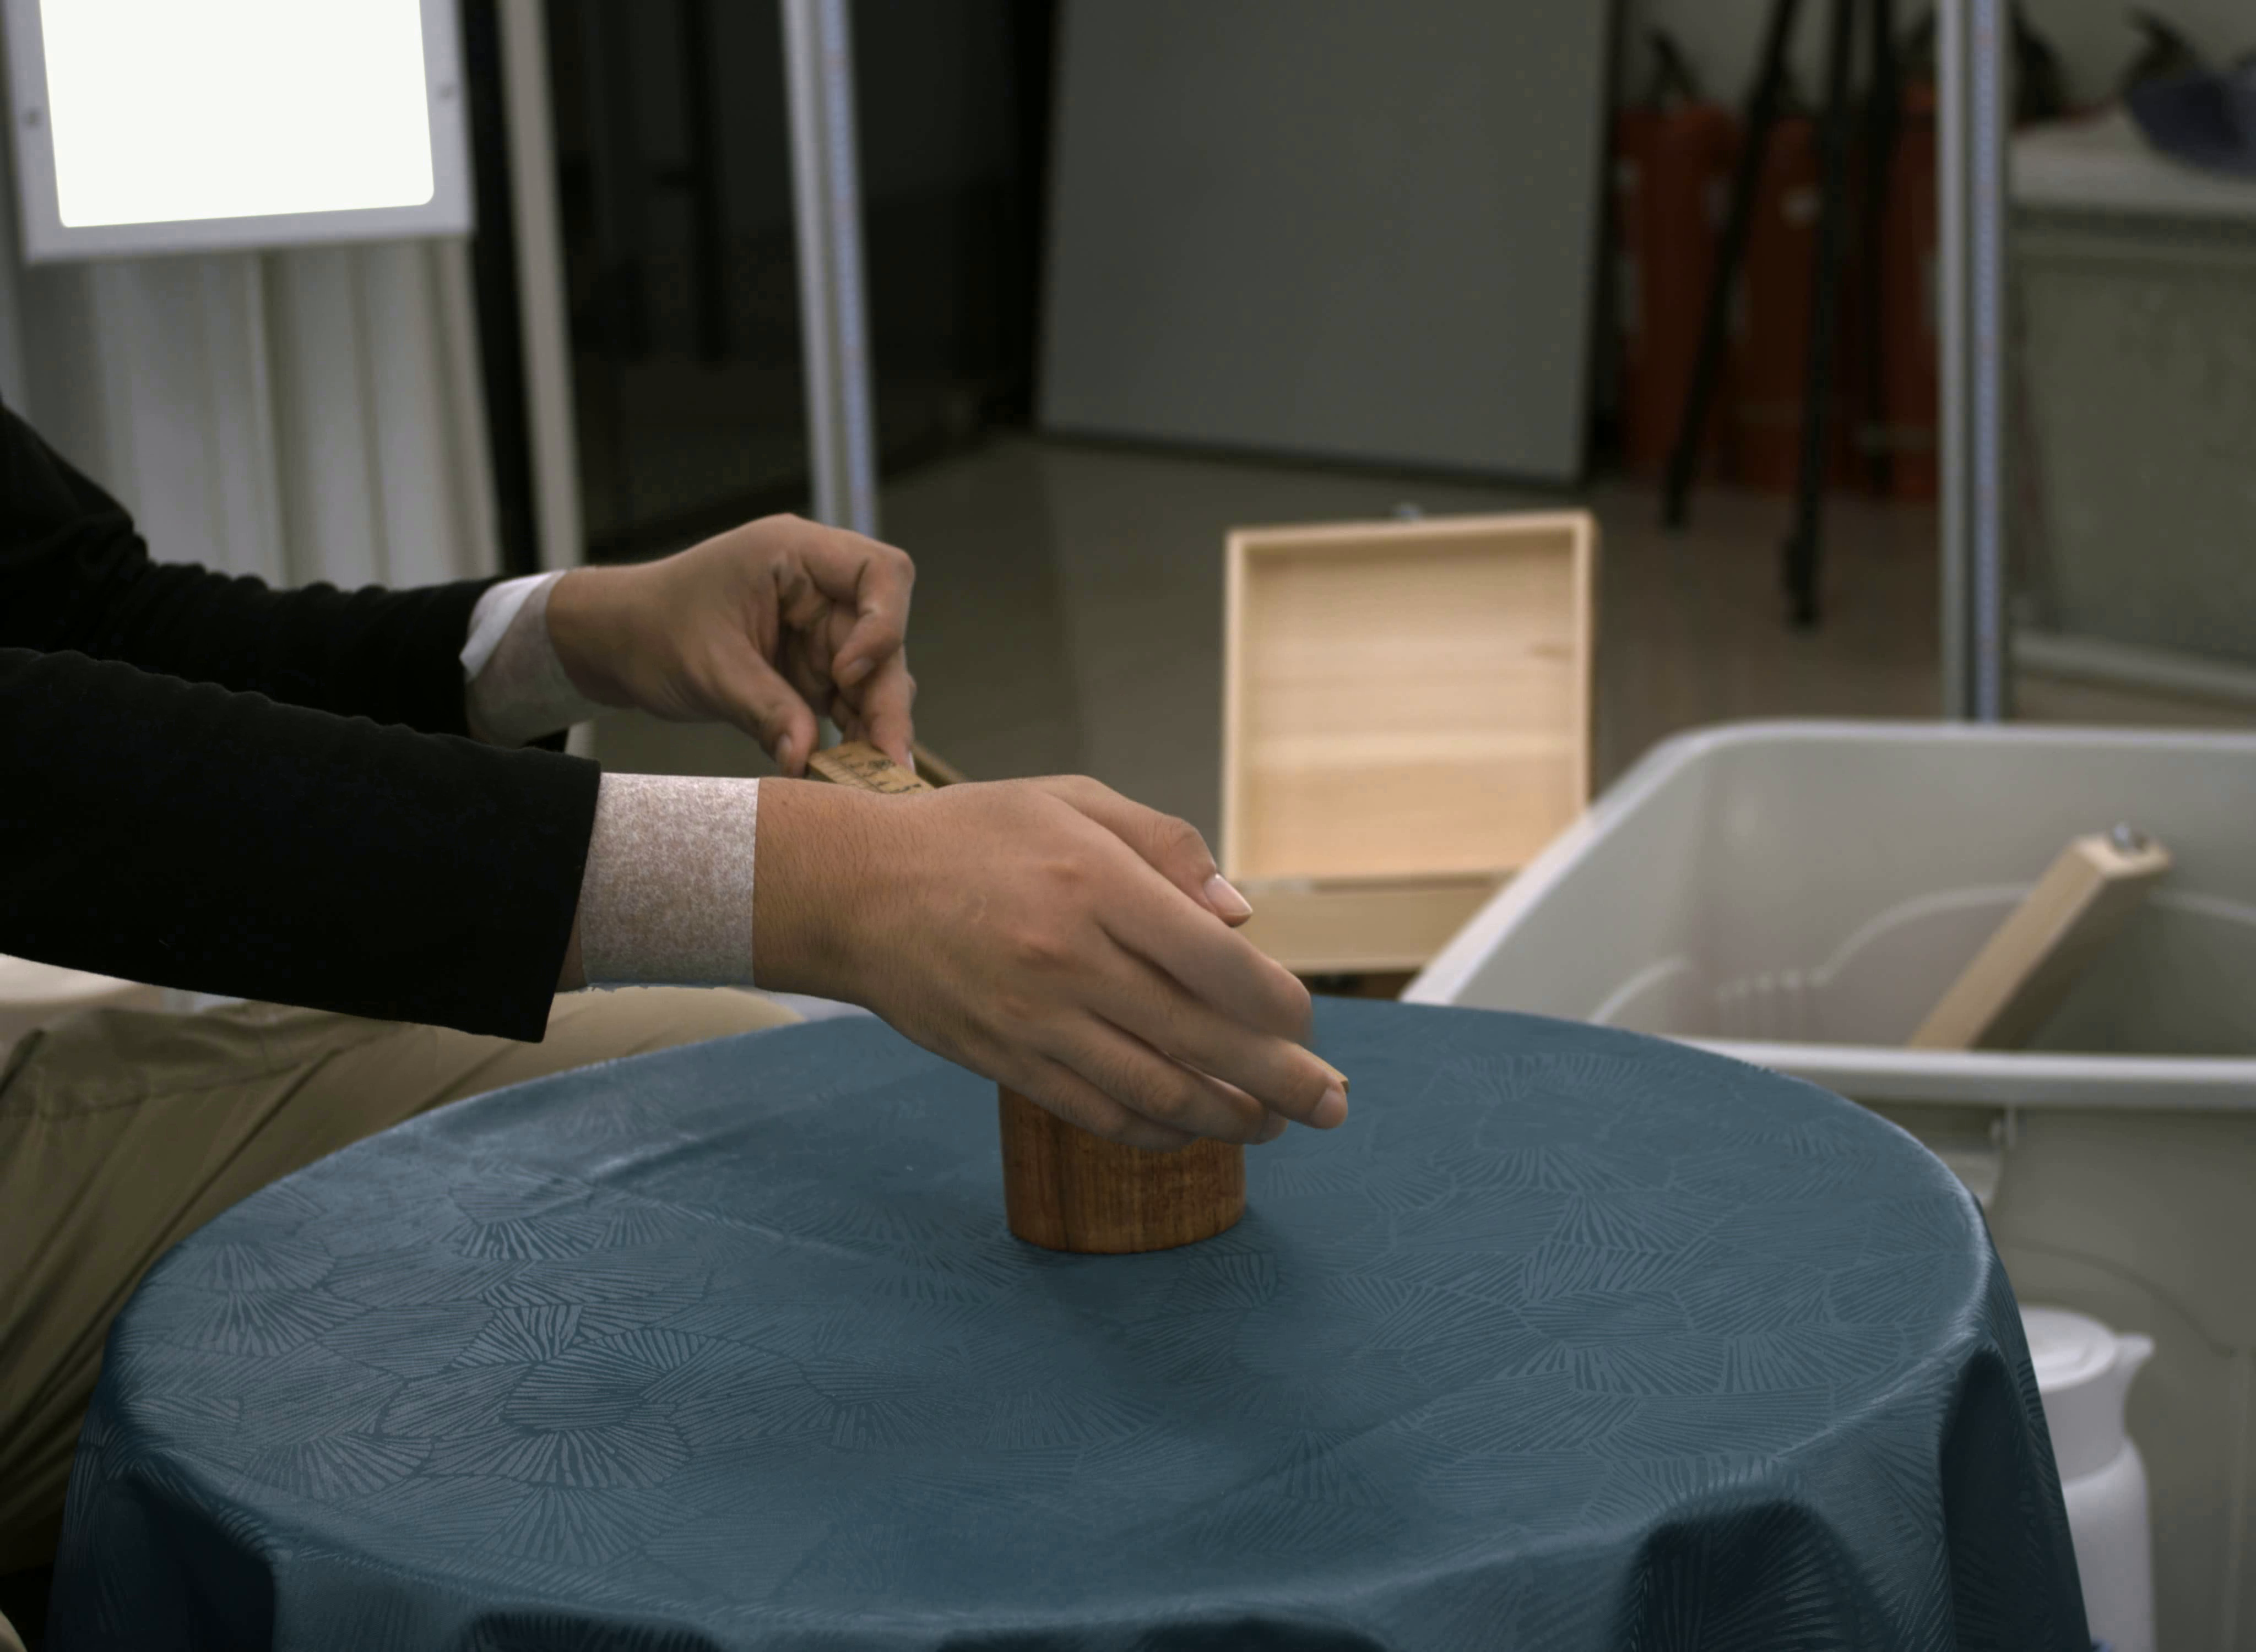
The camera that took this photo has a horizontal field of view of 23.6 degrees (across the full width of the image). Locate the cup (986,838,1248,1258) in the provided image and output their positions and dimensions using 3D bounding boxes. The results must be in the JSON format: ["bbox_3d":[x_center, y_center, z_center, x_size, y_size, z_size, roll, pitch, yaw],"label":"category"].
[{"bbox_3d":[-0.003,0.070,1.731,0.086,0.120,0.088,-4,12,0],"label":"cup"}]

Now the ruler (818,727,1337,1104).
[{"bbox_3d":[-0.023,0.021,1.691,0.027,0.022,0.335,-10,22,-24],"label":"ruler"}]
